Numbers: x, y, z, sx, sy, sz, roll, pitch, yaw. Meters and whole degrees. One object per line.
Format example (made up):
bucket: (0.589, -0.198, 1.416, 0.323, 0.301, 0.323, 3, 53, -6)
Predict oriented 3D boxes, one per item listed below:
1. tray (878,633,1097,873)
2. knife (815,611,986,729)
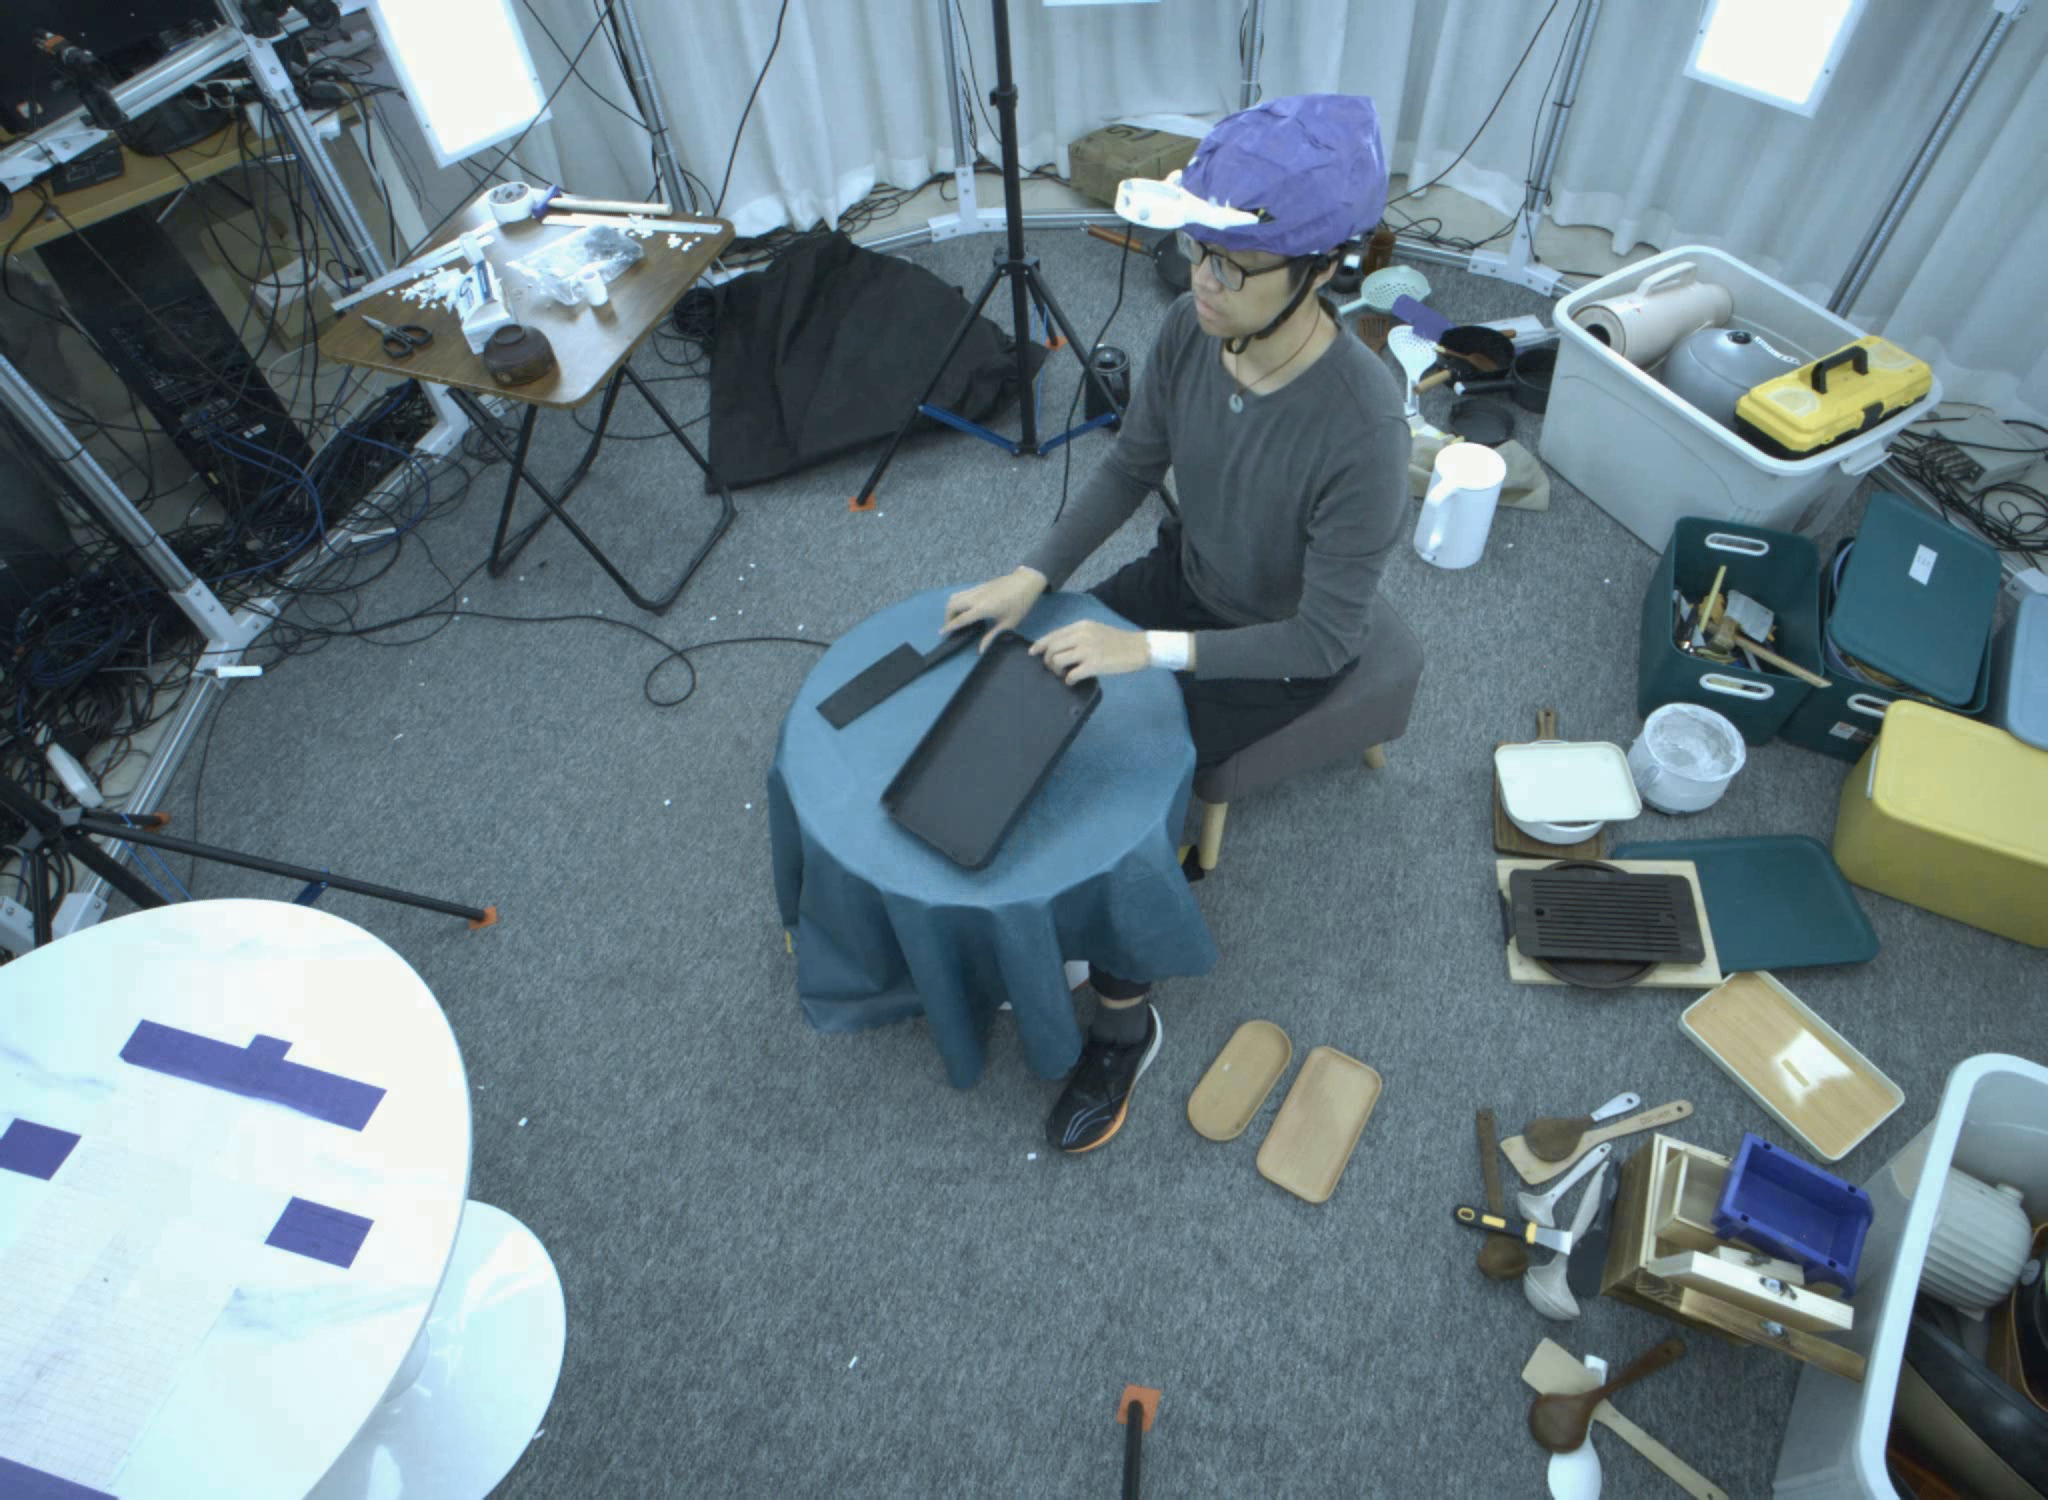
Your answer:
tray: (-0.049, 0.002, 1.714, 0.181, 0.037, 0.318, 29, 79, 21)
knife: (-0.184, -0.131, 1.885, 0.304, 0.021, 0.079, -33, 61, -18)
